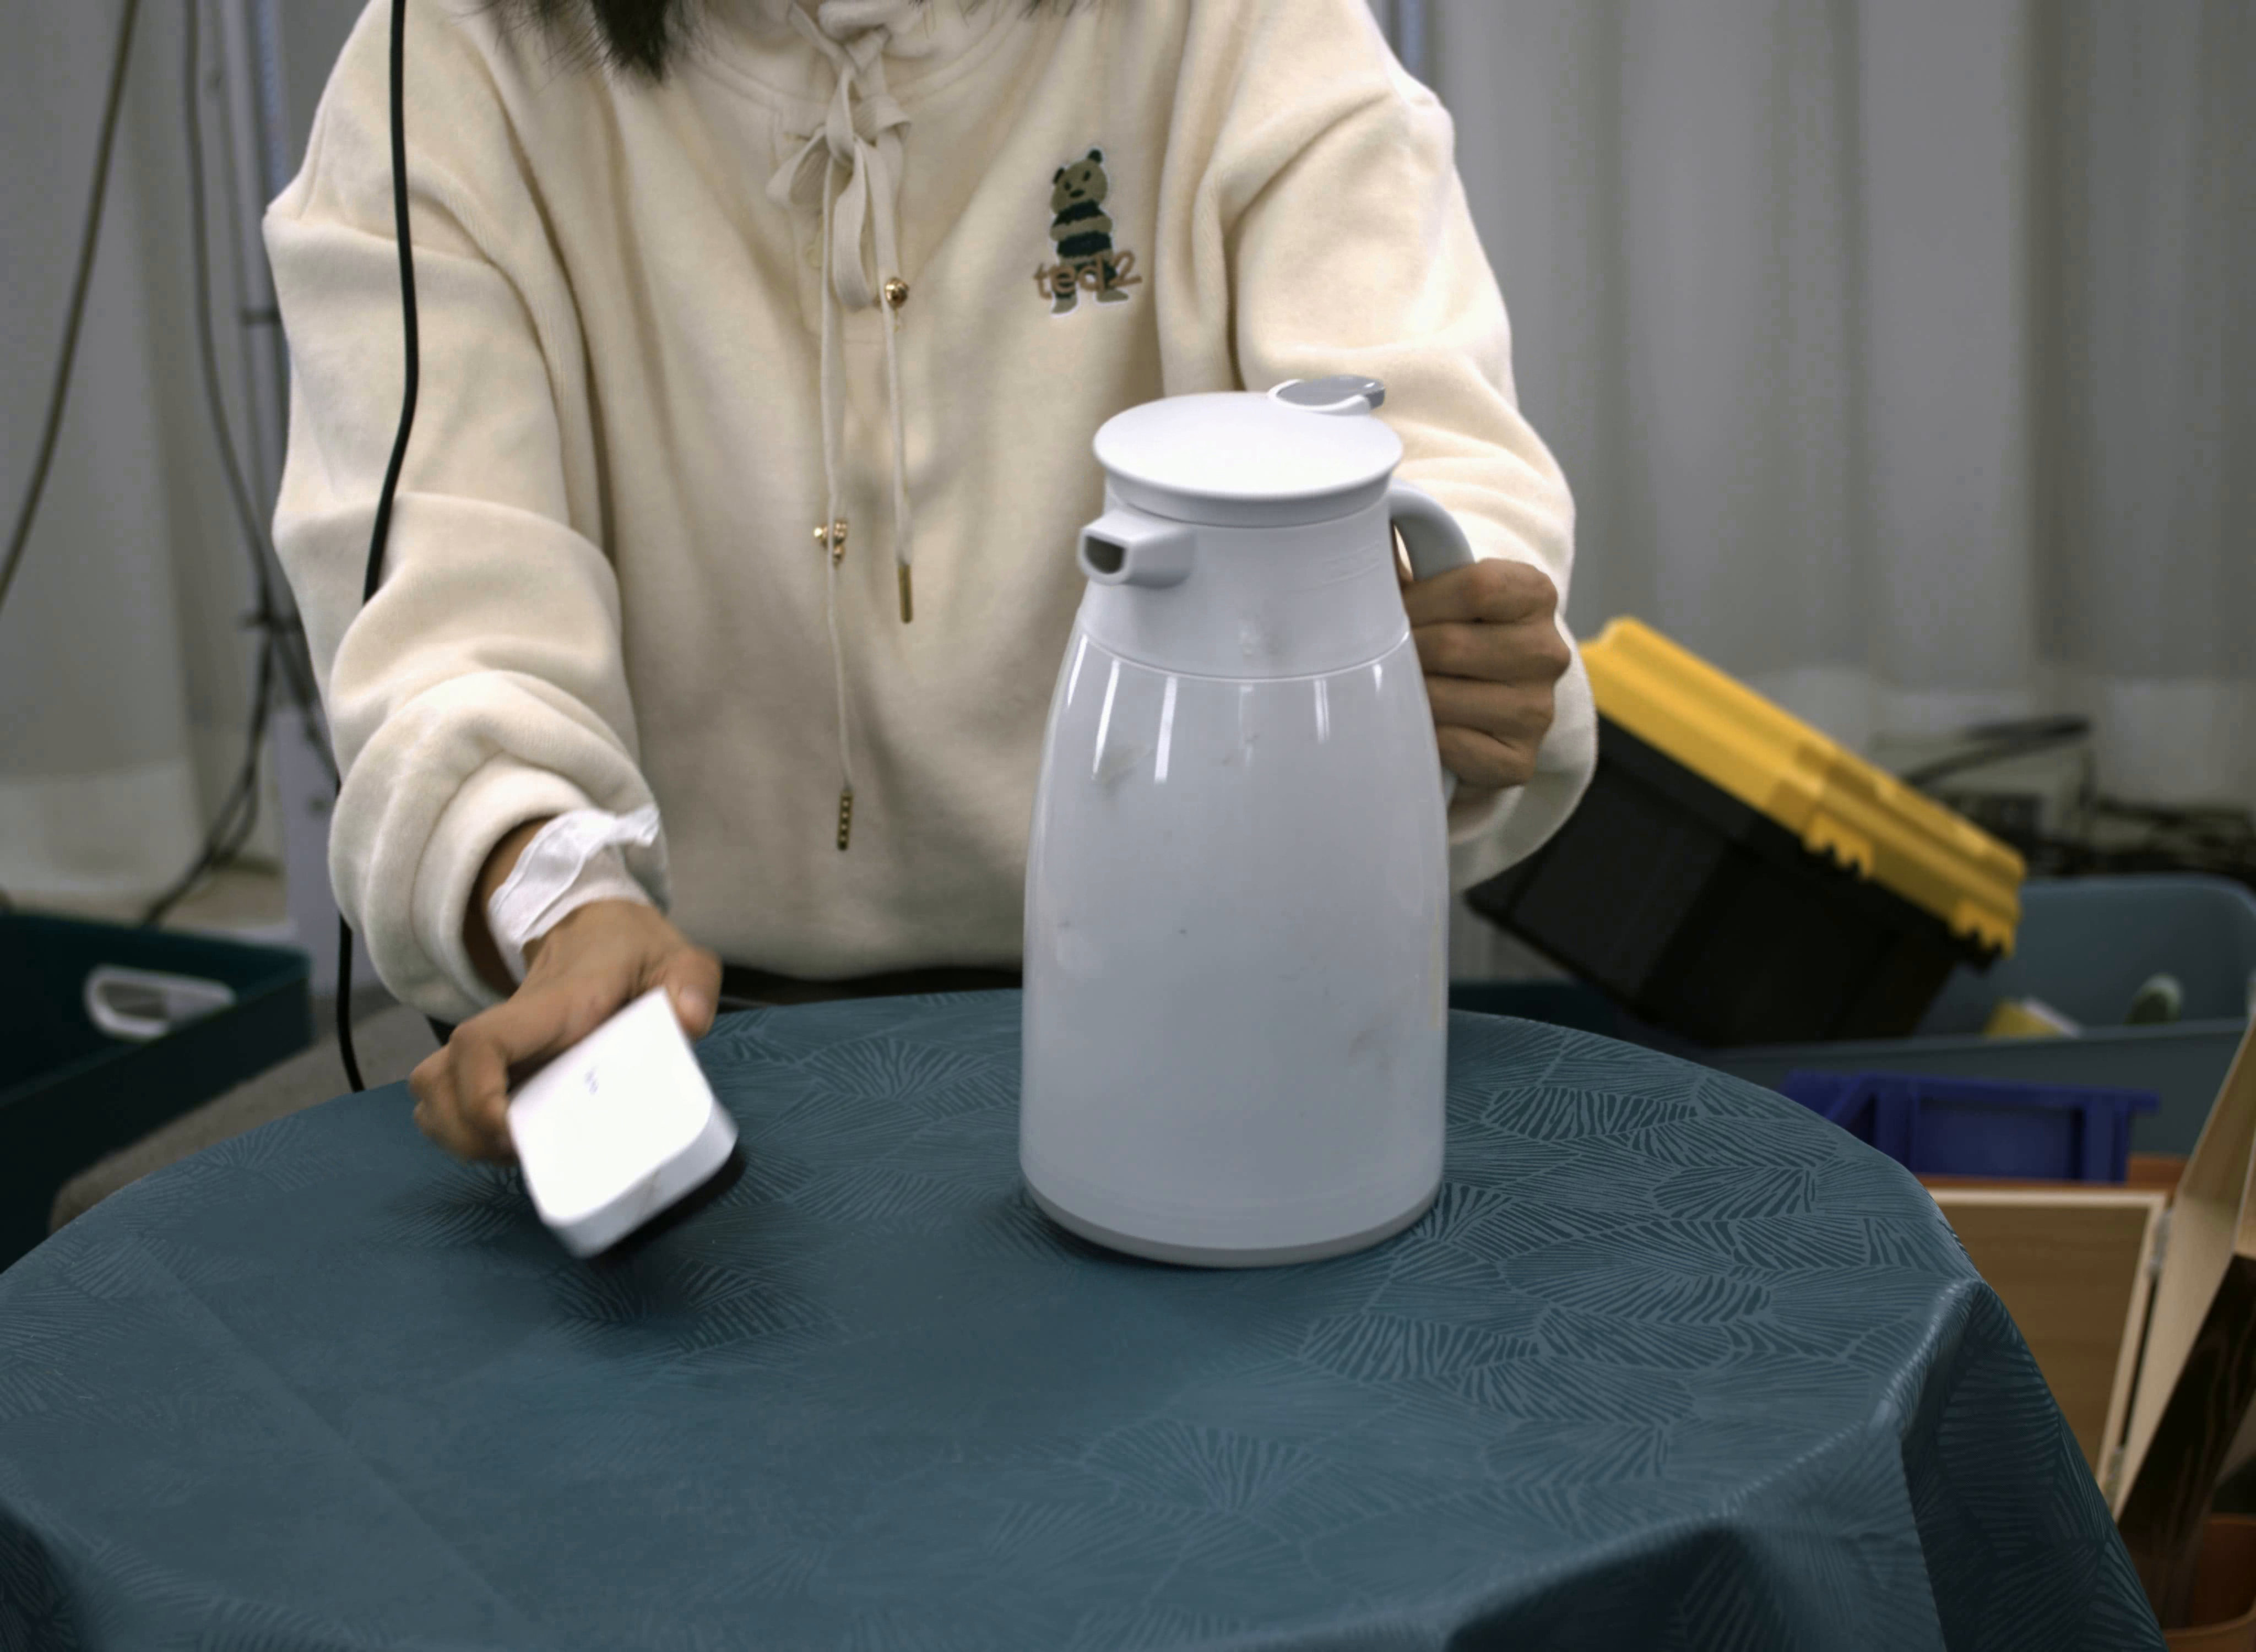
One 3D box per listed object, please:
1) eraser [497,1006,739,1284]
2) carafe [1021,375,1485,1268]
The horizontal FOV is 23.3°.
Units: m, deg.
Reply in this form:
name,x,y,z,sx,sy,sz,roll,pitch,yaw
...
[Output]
name,x,y,z,sx,sy,sz,roll,pitch,yaw
eraser,-0.155,0.093,1.665,0.063,0.034,0.132,-31,21,-2
carafe,0.046,-0.011,1.665,0.133,0.247,0.167,18,26,39
